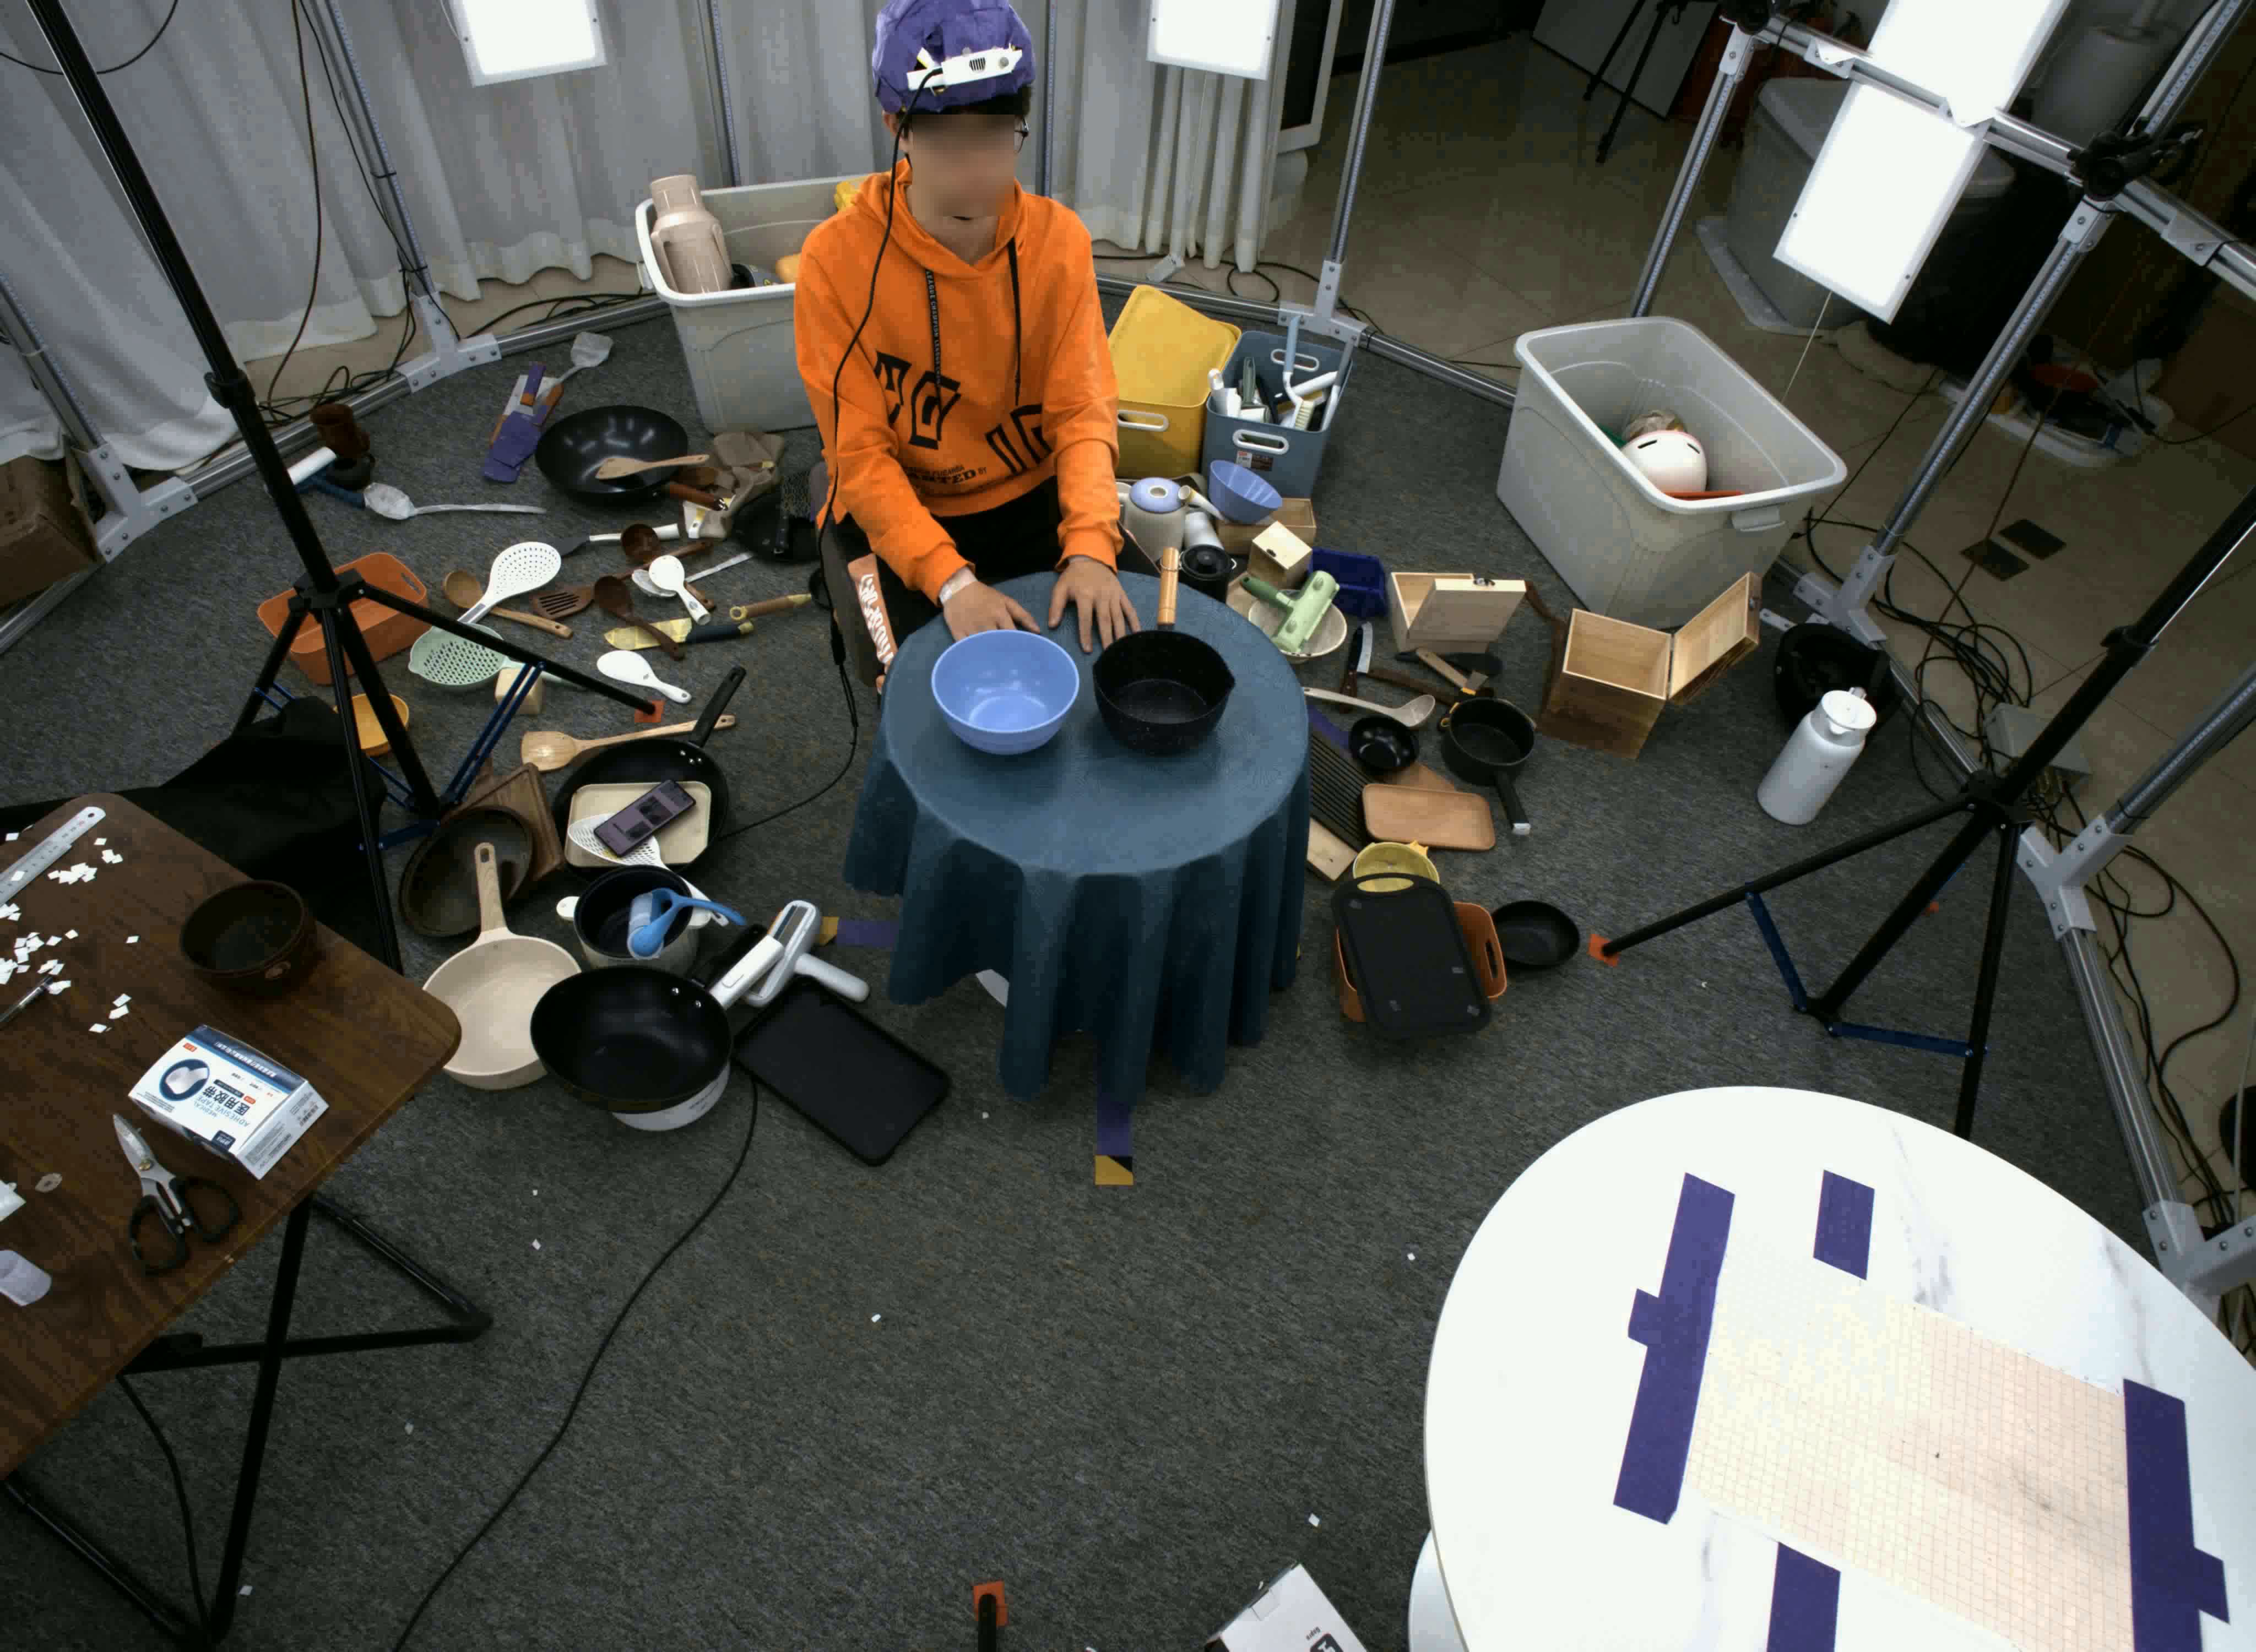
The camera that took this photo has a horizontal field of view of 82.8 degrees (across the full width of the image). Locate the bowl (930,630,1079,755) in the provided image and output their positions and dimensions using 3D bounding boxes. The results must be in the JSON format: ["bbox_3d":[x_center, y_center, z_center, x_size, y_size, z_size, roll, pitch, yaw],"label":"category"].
[{"bbox_3d":[-0.165,-0.166,1.740,0.196,0.093,0.201,1,50,-2],"label":"bowl"}]

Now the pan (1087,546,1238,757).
[{"bbox_3d":[0.050,-0.248,1.818,0.207,0.105,0.351,3,50,1],"label":"pan"}]
